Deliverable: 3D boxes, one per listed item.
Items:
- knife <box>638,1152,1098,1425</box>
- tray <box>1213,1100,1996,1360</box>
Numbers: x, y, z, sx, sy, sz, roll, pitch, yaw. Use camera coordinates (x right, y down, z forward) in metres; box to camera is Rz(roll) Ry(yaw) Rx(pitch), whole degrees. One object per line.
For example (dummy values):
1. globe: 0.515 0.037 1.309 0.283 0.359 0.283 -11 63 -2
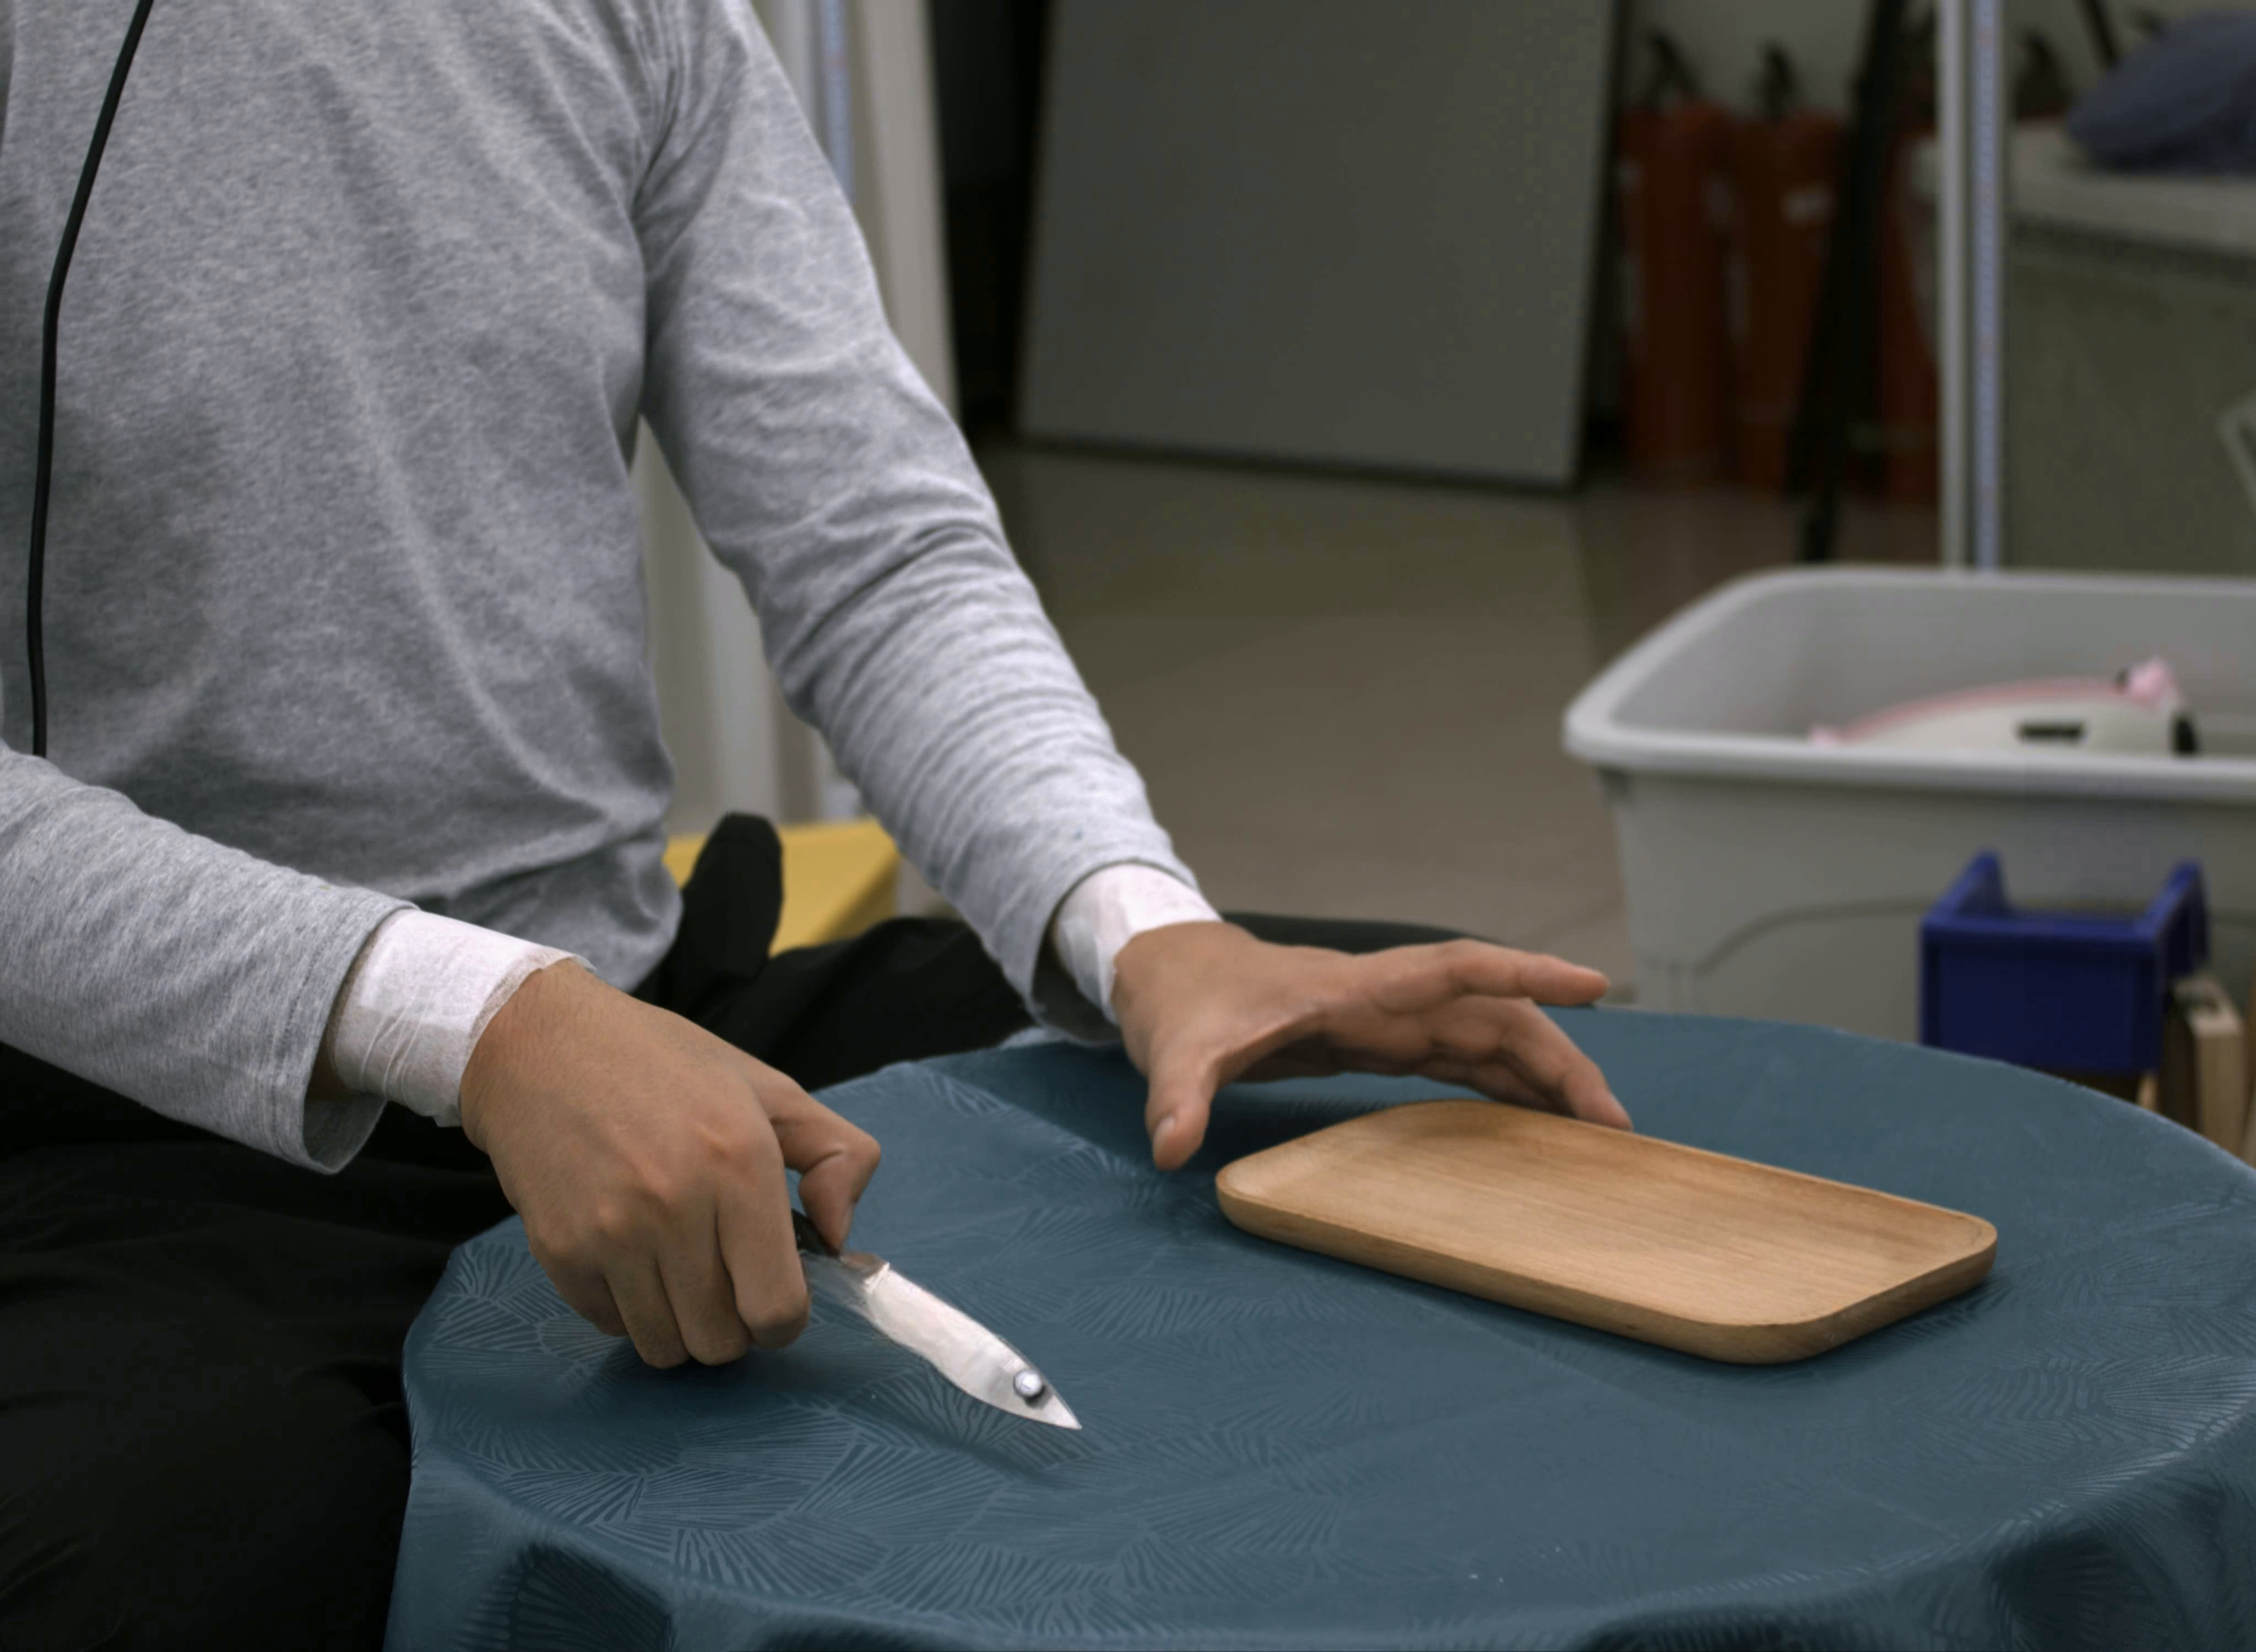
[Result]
1. knife: -0.081 0.140 1.609 0.024 0.016 0.241 -49 37 -14
2. tray: 0.146 0.124 1.684 0.128 0.023 0.253 -12 14 -40
